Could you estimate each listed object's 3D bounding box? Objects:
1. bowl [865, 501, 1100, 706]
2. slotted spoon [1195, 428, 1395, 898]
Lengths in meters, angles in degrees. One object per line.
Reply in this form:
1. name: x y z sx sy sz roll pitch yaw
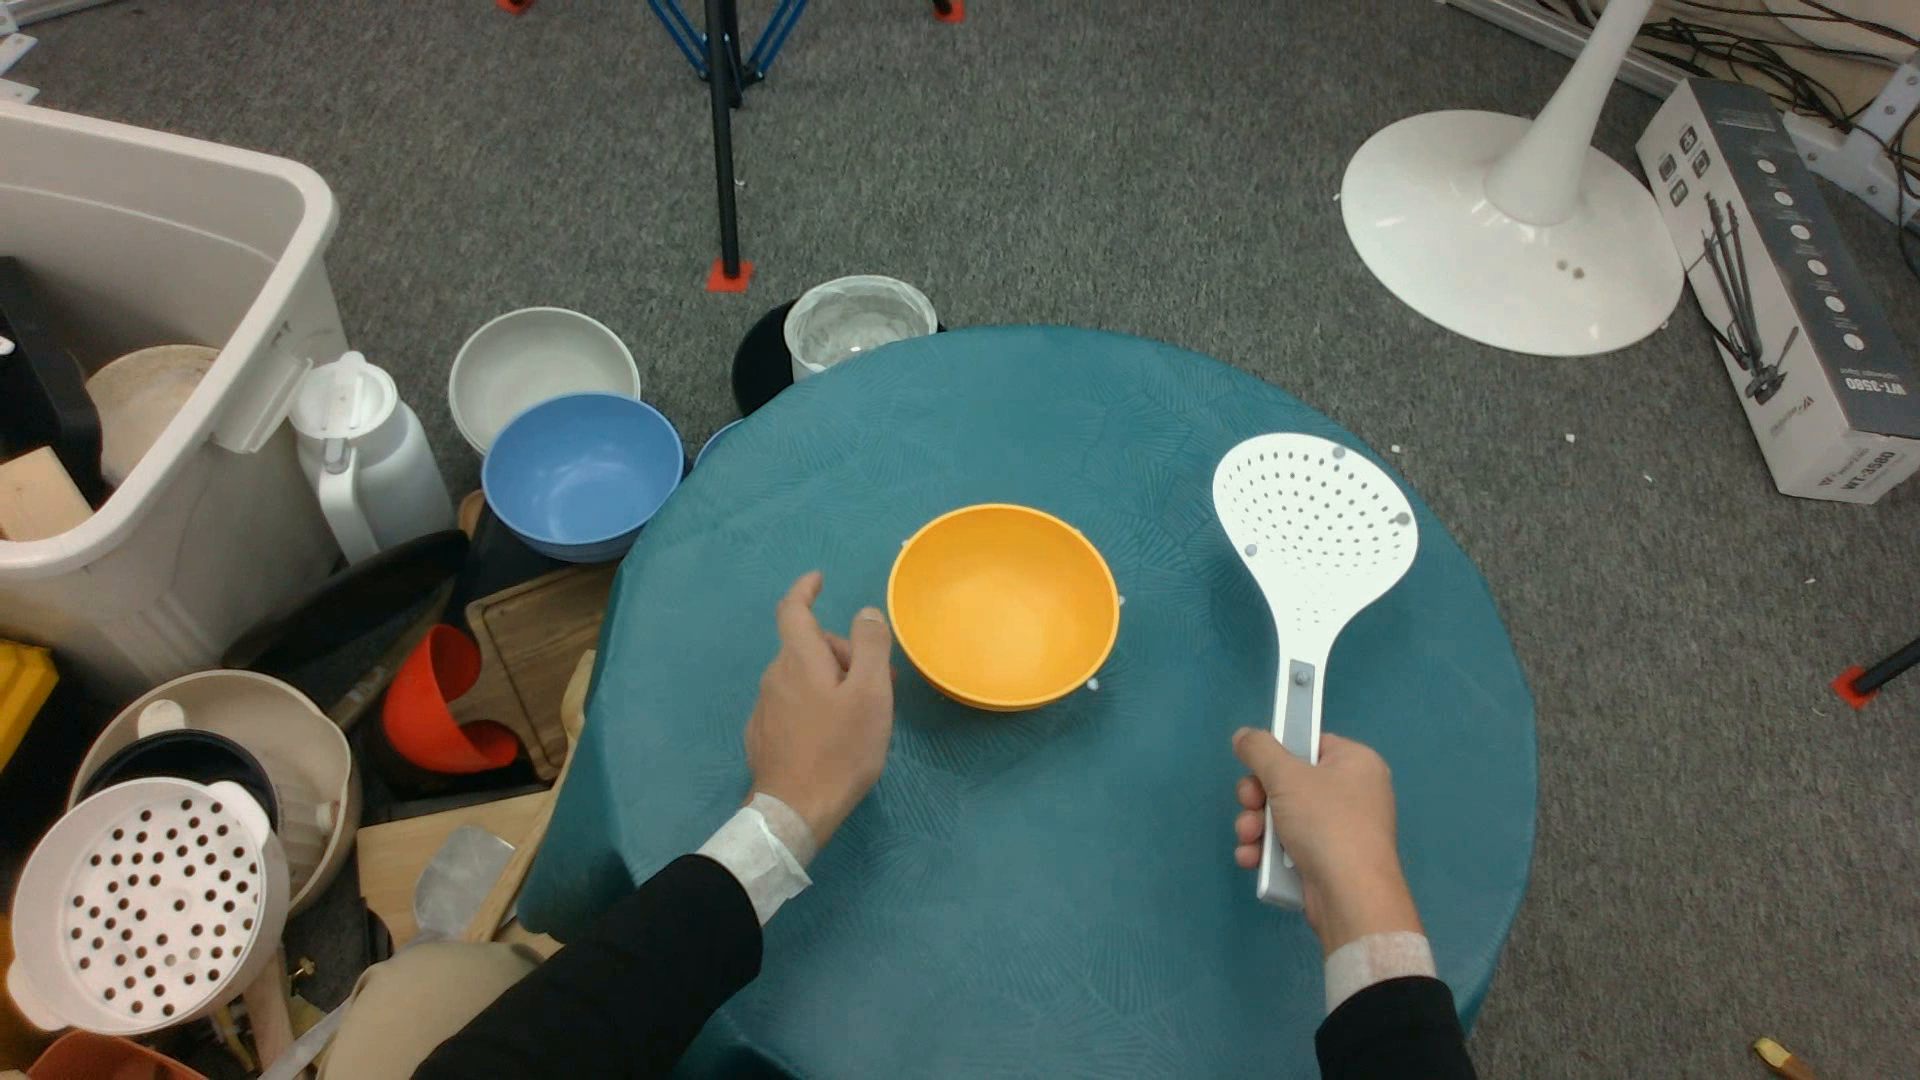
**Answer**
1. bowl: 0.012 0.049 0.869 0.145 0.060 0.146 2 55 -3
2. slotted spoon: 0.195 0.058 0.835 0.136 0.045 0.351 16 44 0
